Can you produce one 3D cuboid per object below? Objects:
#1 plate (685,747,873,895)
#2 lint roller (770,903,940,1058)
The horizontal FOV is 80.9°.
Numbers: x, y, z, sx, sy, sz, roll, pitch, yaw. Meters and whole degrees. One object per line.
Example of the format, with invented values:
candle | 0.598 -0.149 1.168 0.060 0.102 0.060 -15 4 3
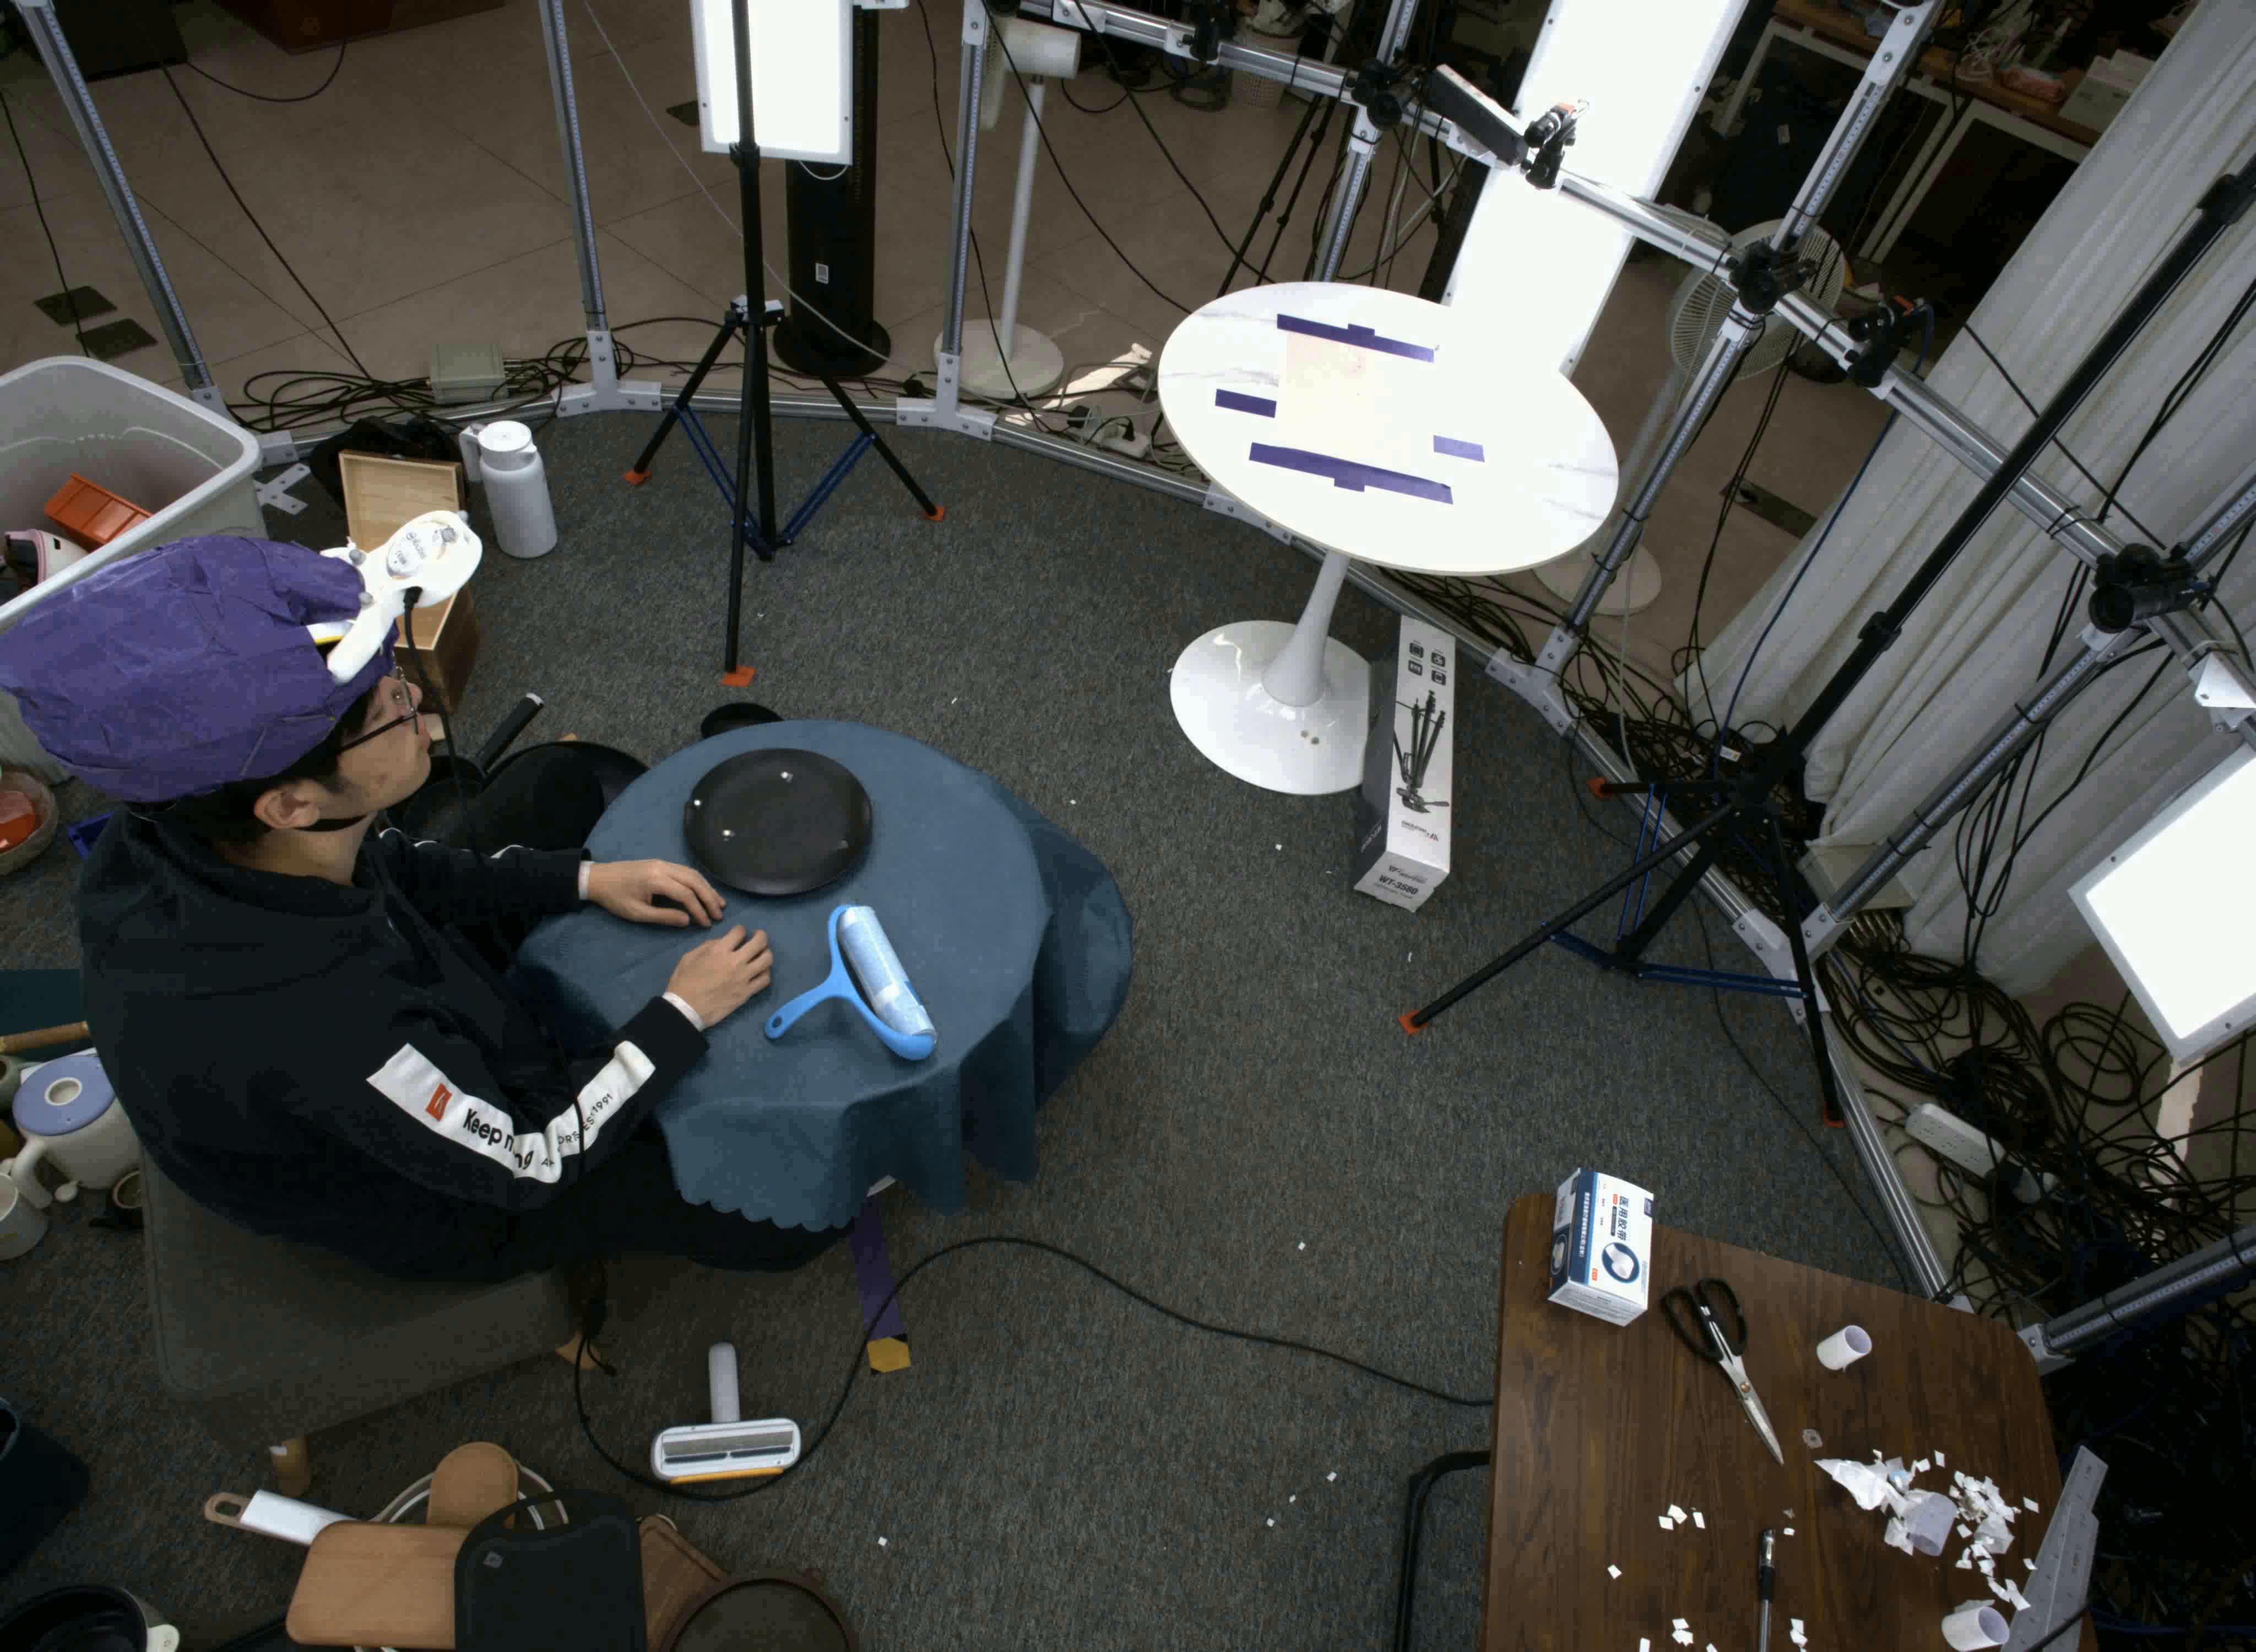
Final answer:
plate | -0.460 -0.006 1.710 0.244 0.024 0.240 8 53 -9
lint roller | -0.345 0.204 1.564 0.181 0.069 0.223 -23 64 -28
